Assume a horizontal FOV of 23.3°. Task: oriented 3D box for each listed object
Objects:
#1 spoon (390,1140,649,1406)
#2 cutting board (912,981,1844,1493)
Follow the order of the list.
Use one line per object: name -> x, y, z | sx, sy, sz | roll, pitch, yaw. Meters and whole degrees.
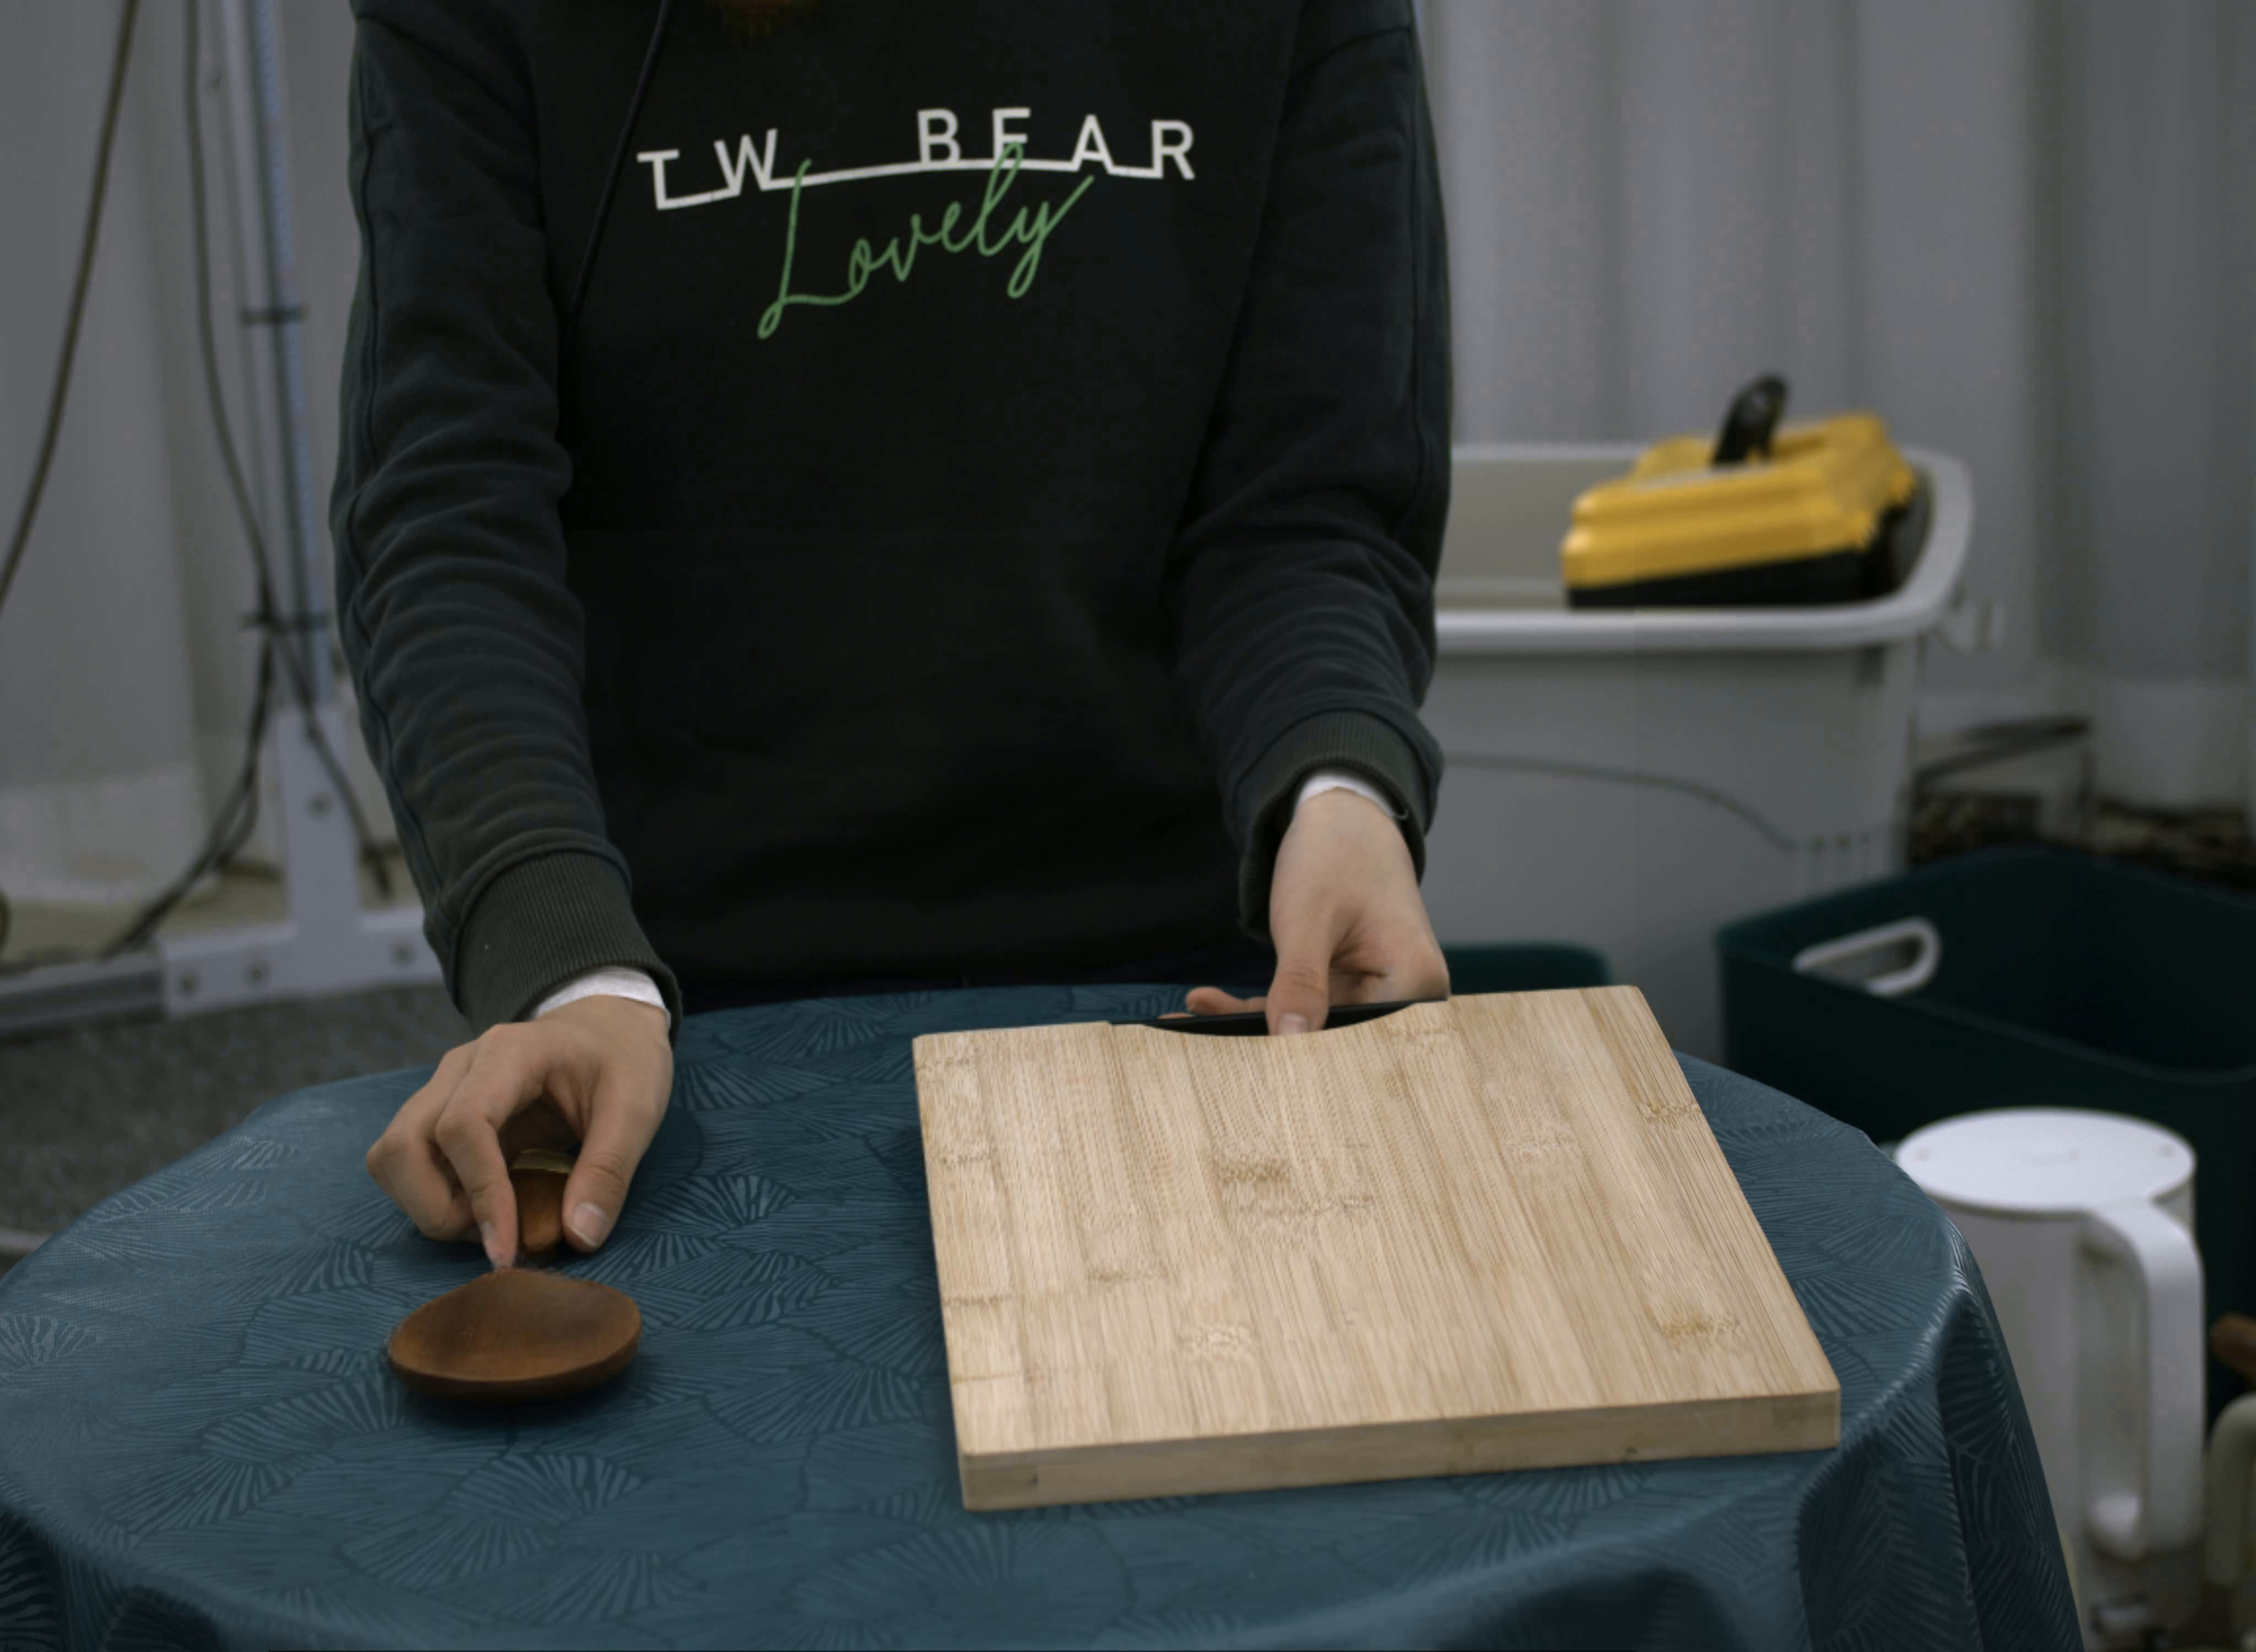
spoon -> -0.178, 0.135, 1.639 | 0.075, 0.017, 0.217 | -6, 15, -2
cutting board -> 0.062, 0.117, 1.635 | 0.250, 0.023, 0.351 | -3, 17, -4
